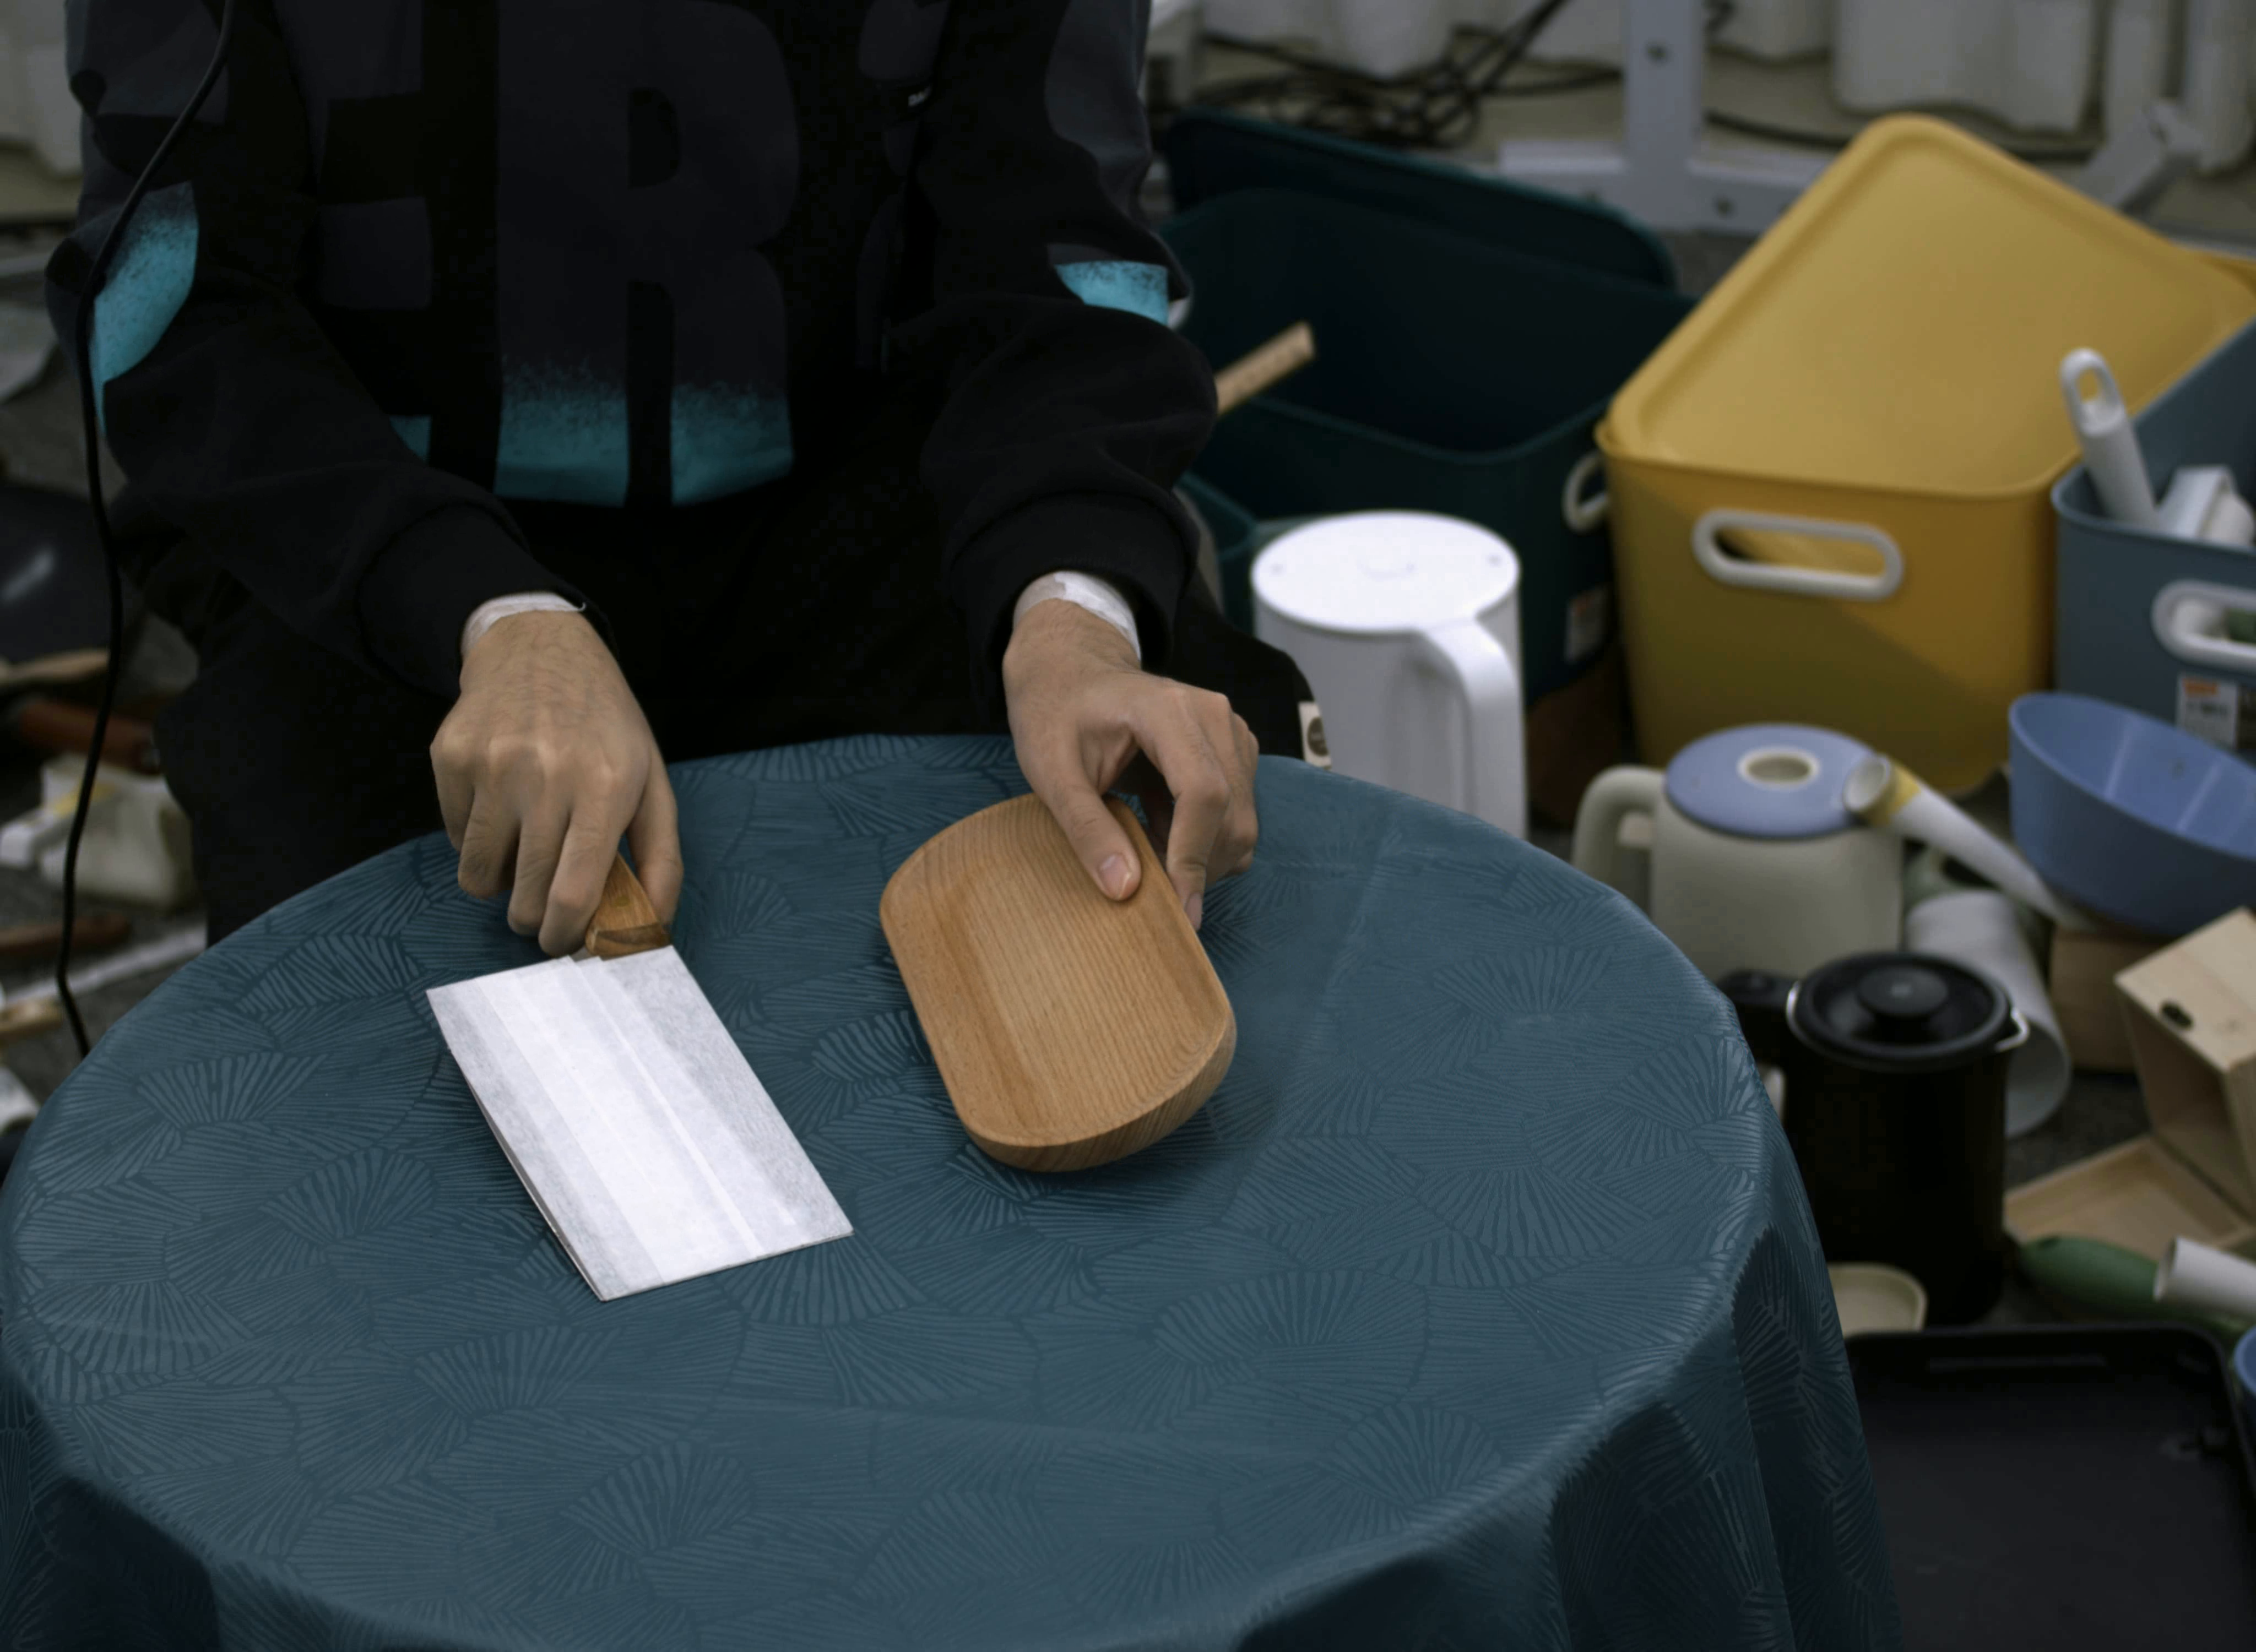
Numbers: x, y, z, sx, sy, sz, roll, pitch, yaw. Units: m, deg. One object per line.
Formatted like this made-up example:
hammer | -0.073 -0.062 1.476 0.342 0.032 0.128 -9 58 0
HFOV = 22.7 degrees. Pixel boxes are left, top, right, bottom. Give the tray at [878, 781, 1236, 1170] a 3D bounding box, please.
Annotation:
tray | -0.026 0.050 1.957 0.101 0.020 0.234 -23 29 -2

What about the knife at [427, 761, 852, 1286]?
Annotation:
knife | -0.189 0.067 1.947 0.093 0.021 0.309 -14 36 -19
